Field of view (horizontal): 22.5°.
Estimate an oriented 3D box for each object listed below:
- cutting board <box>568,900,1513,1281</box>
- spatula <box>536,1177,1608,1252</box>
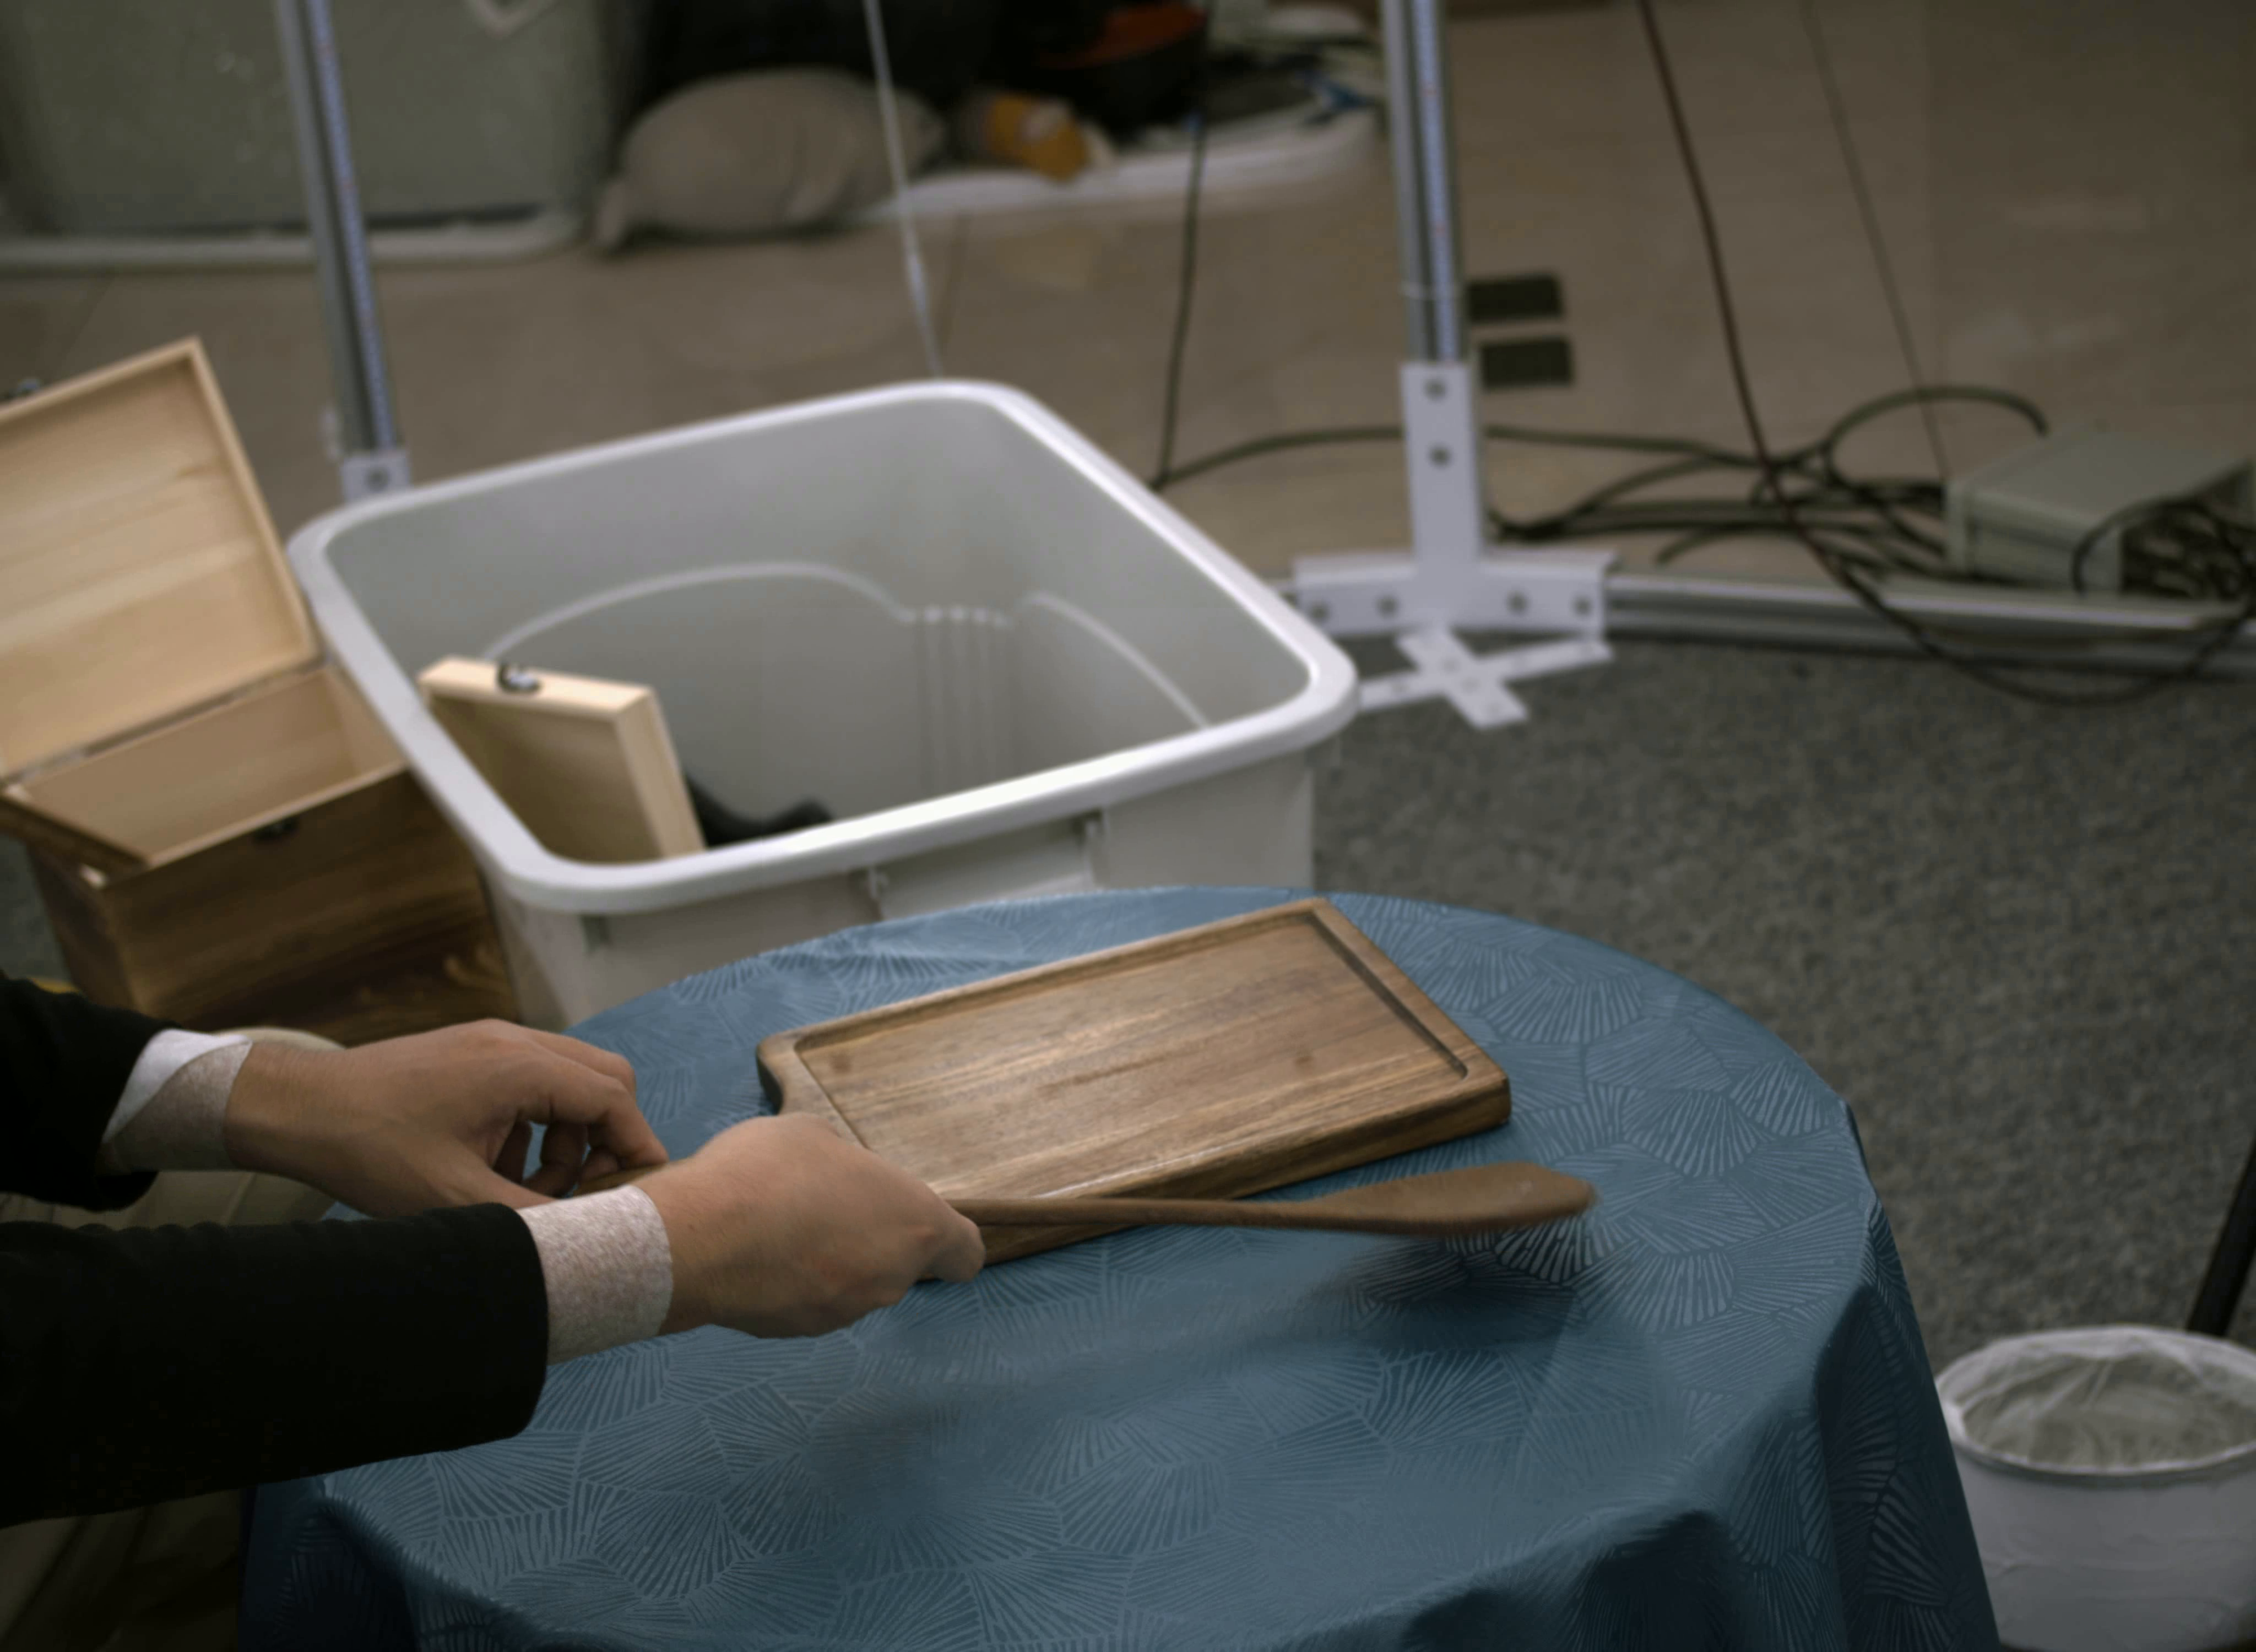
[{"bbox_3d":[-0.048,0.110,2.197,0.351,0.023,0.198,-14,26,-16],"label":"cutting board"},{"bbox_3d":[-0.018,0.139,2.017,0.385,0.016,0.095,1,7,-13],"label":"spatula"}]
